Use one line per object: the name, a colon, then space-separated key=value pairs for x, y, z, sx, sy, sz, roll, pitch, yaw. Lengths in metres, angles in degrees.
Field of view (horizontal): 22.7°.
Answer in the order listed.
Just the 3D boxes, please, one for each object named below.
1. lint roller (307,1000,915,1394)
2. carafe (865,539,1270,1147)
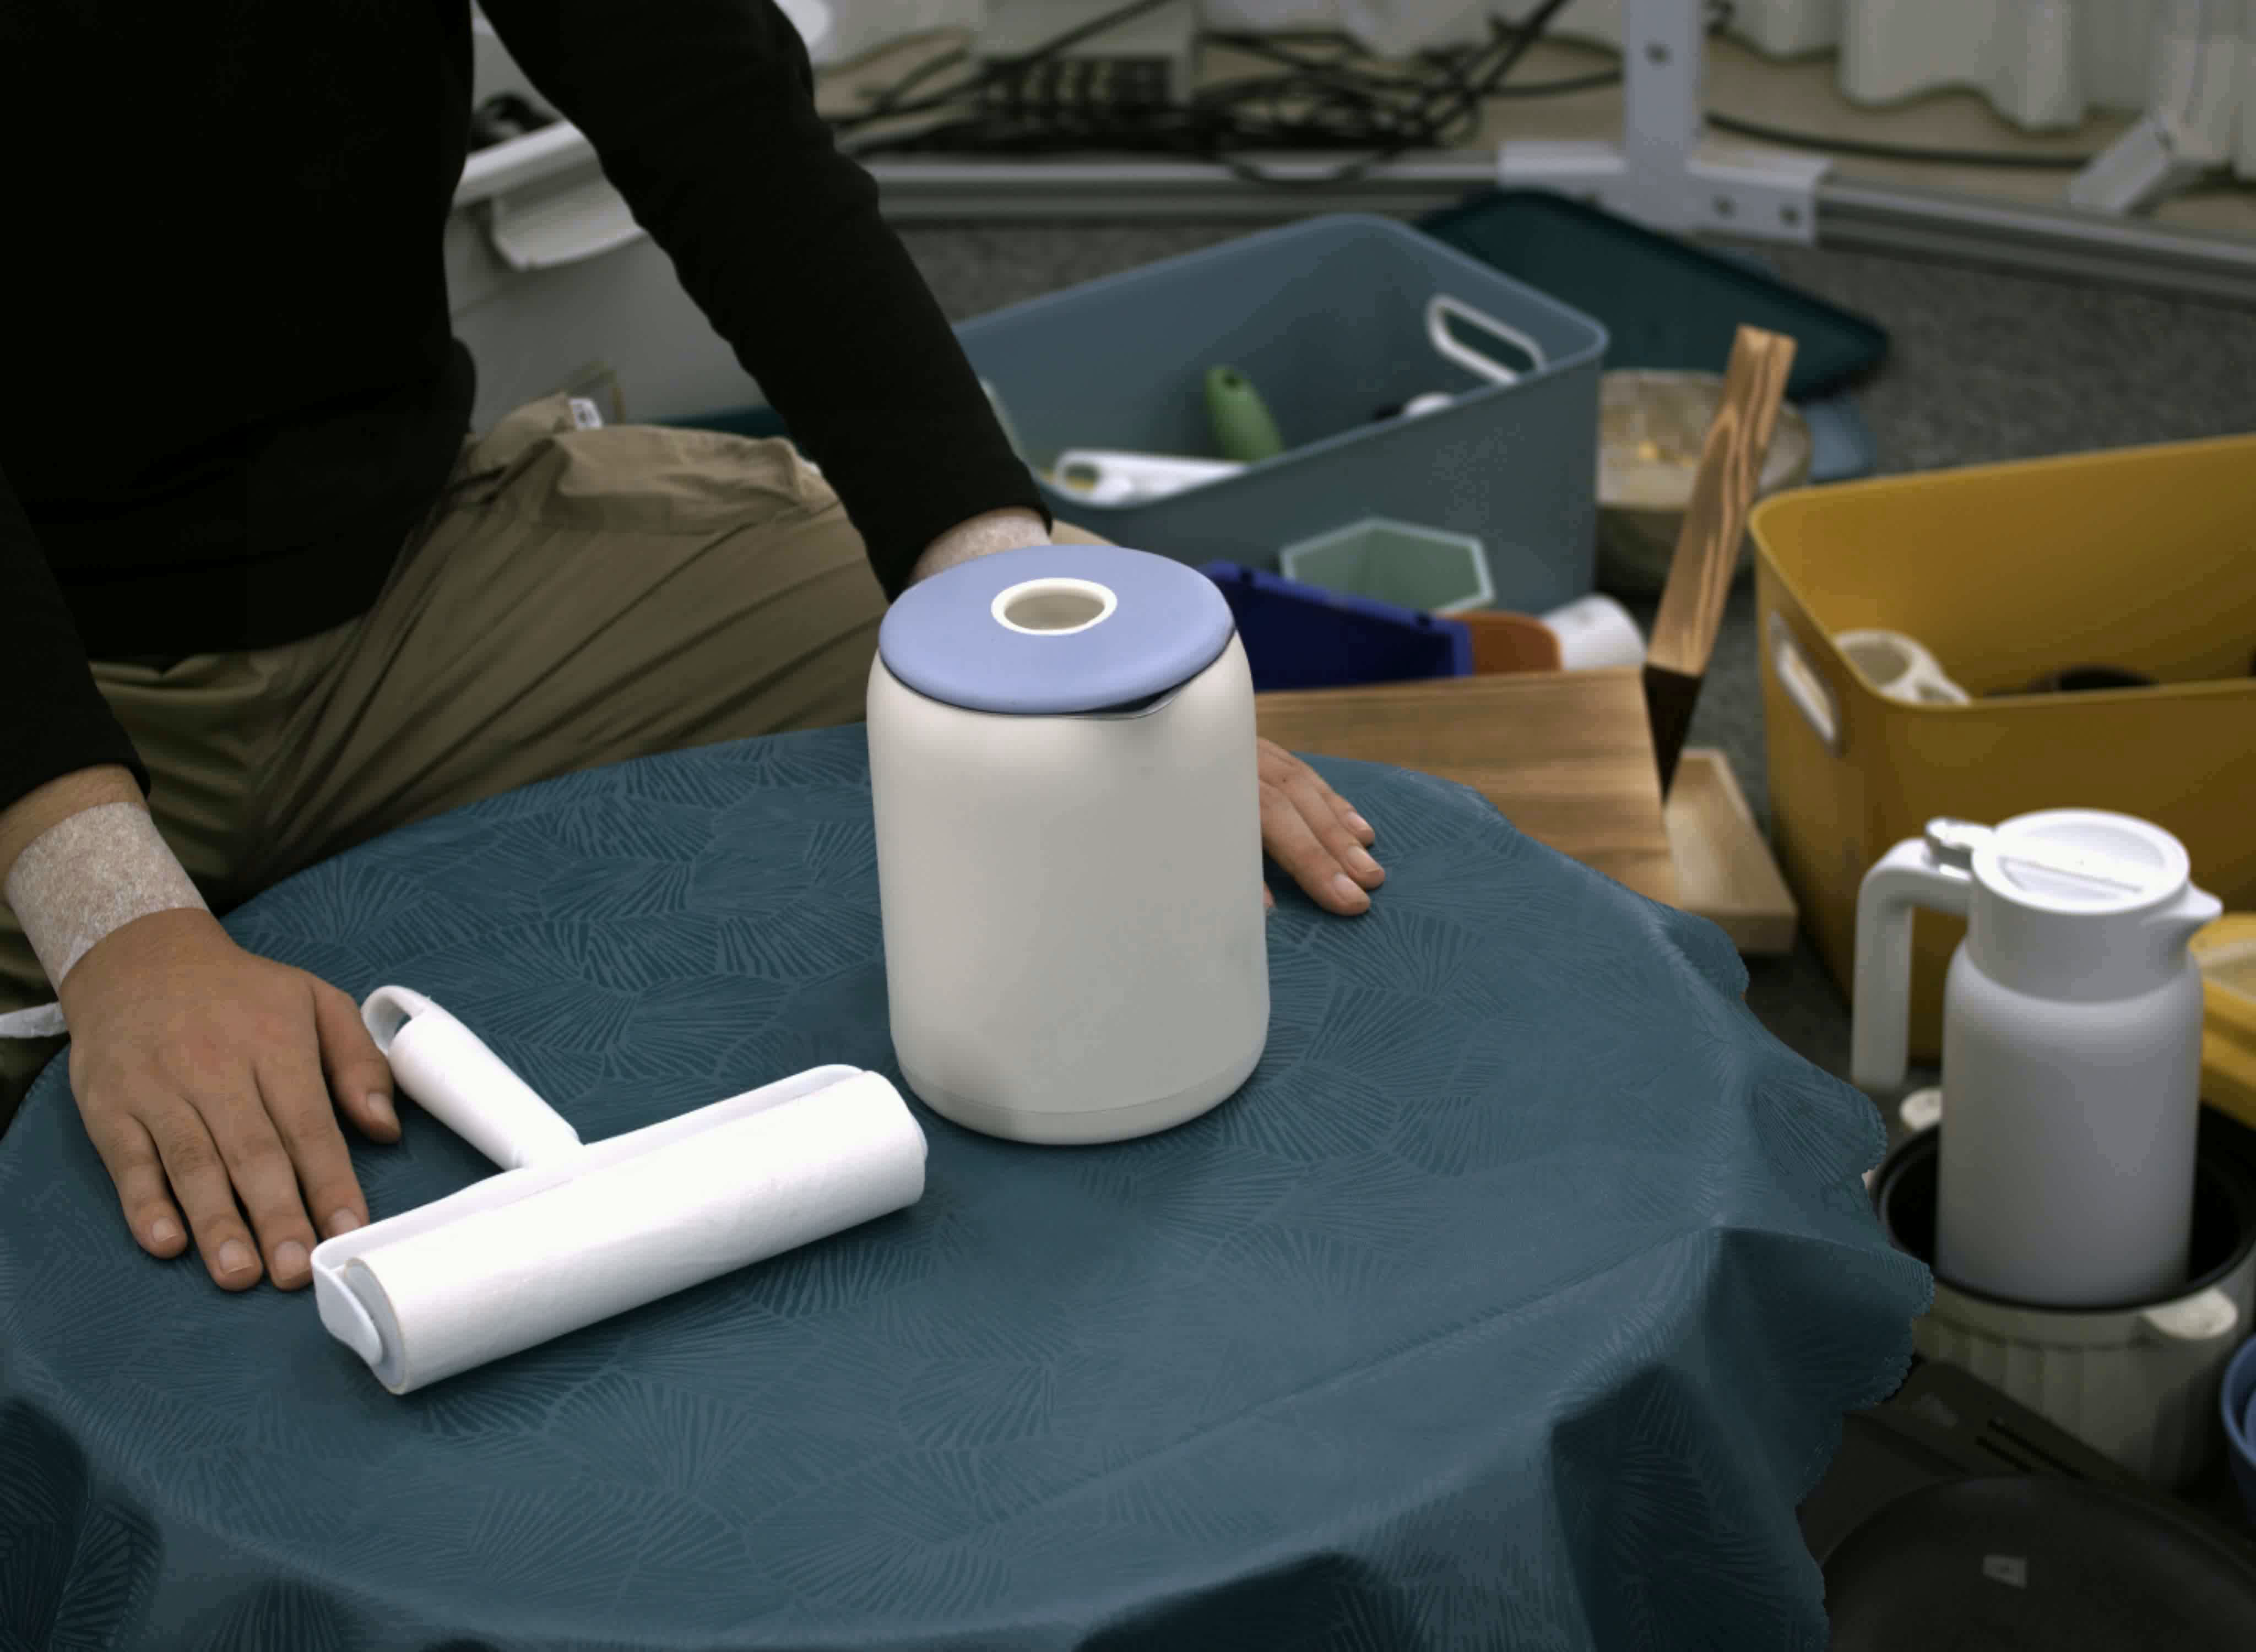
lint roller: x=-0.207 y=0.099 z=1.880 sx=0.204 sy=0.048 sz=0.226 roll=-20 pitch=31 yaw=-27
carafe: x=-0.031 y=-0.004 z=1.923 sx=0.133 sy=0.181 sz=0.192 roll=-15 pitch=27 yaw=-24
